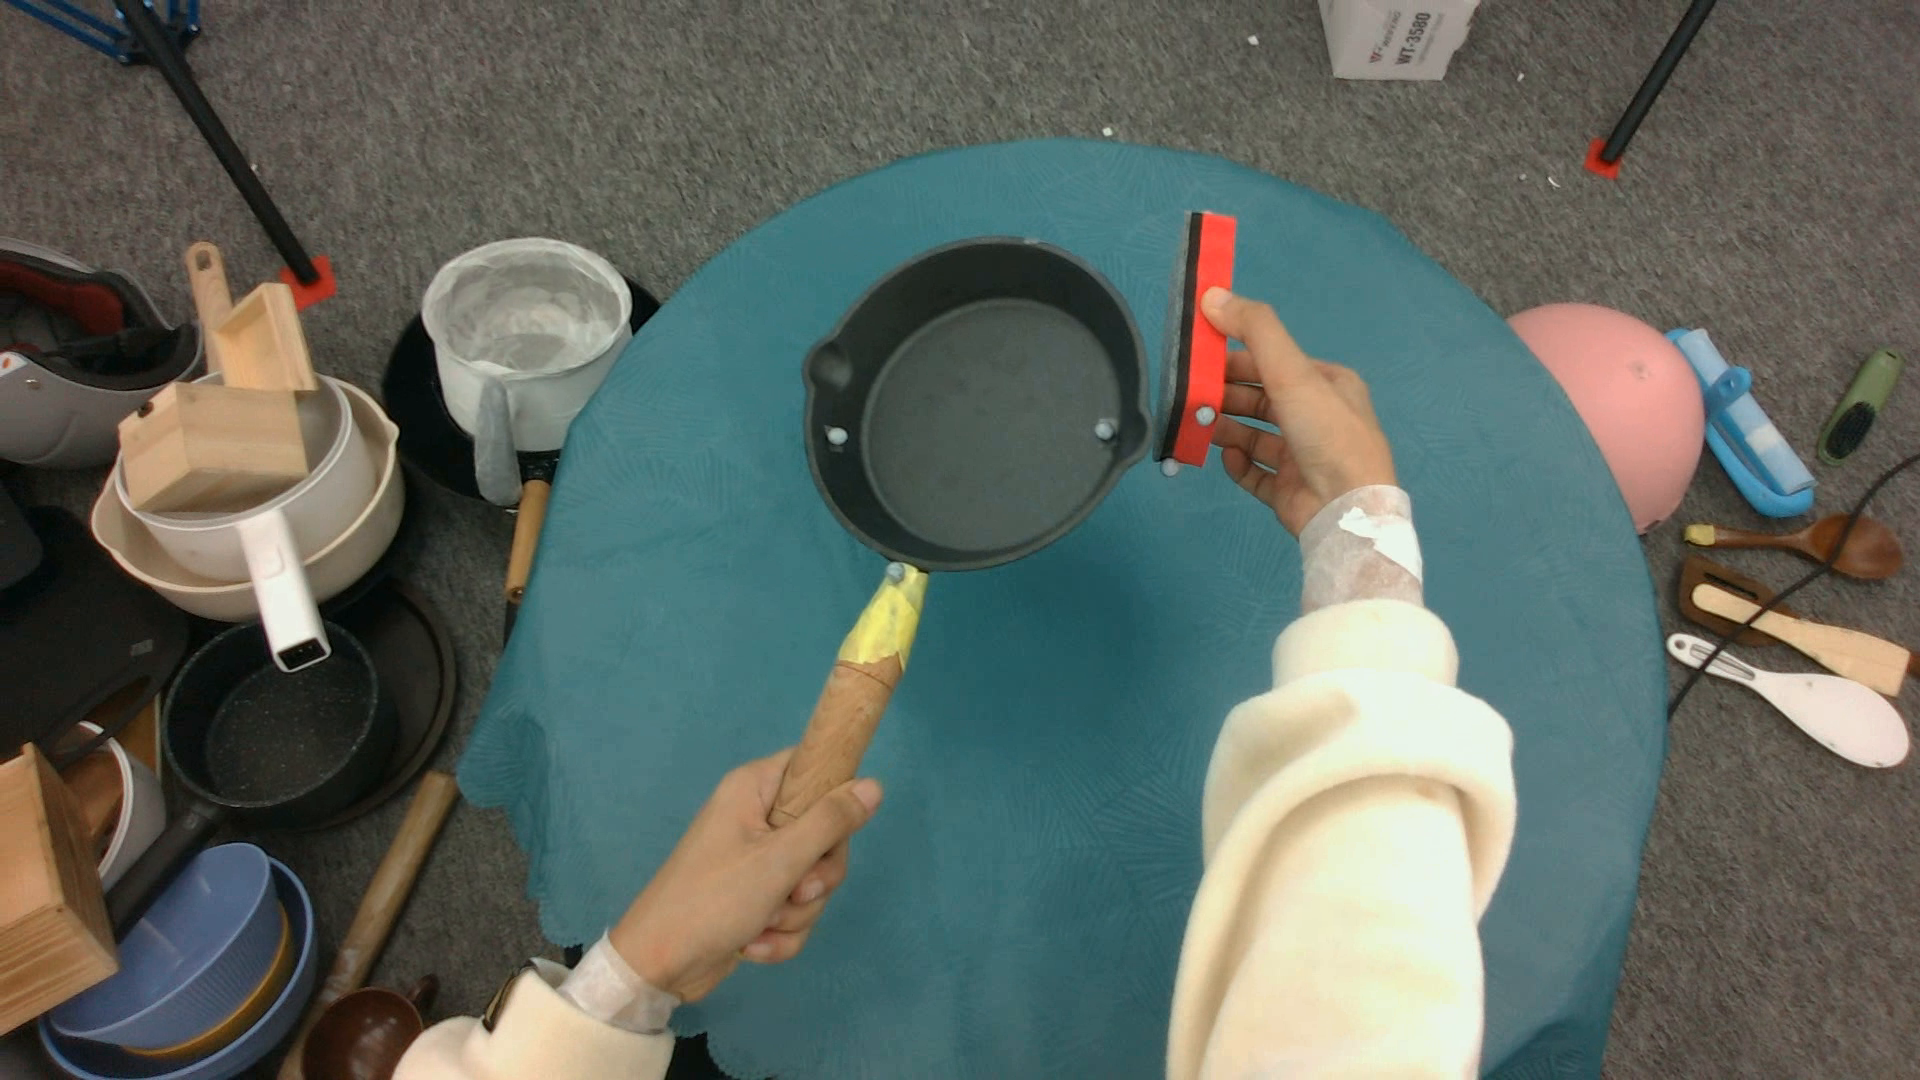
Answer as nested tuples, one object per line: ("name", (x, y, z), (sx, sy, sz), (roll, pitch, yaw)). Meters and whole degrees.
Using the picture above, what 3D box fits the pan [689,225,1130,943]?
("pan", (-0.036, 0.012, 0.585), (0.169, 0.049, 0.325), (17, 76, 22))

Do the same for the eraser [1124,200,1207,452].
("eraser", (0.093, -0.097, 0.620), (0.023, 0.059, 0.108), (8, 60, 1))
